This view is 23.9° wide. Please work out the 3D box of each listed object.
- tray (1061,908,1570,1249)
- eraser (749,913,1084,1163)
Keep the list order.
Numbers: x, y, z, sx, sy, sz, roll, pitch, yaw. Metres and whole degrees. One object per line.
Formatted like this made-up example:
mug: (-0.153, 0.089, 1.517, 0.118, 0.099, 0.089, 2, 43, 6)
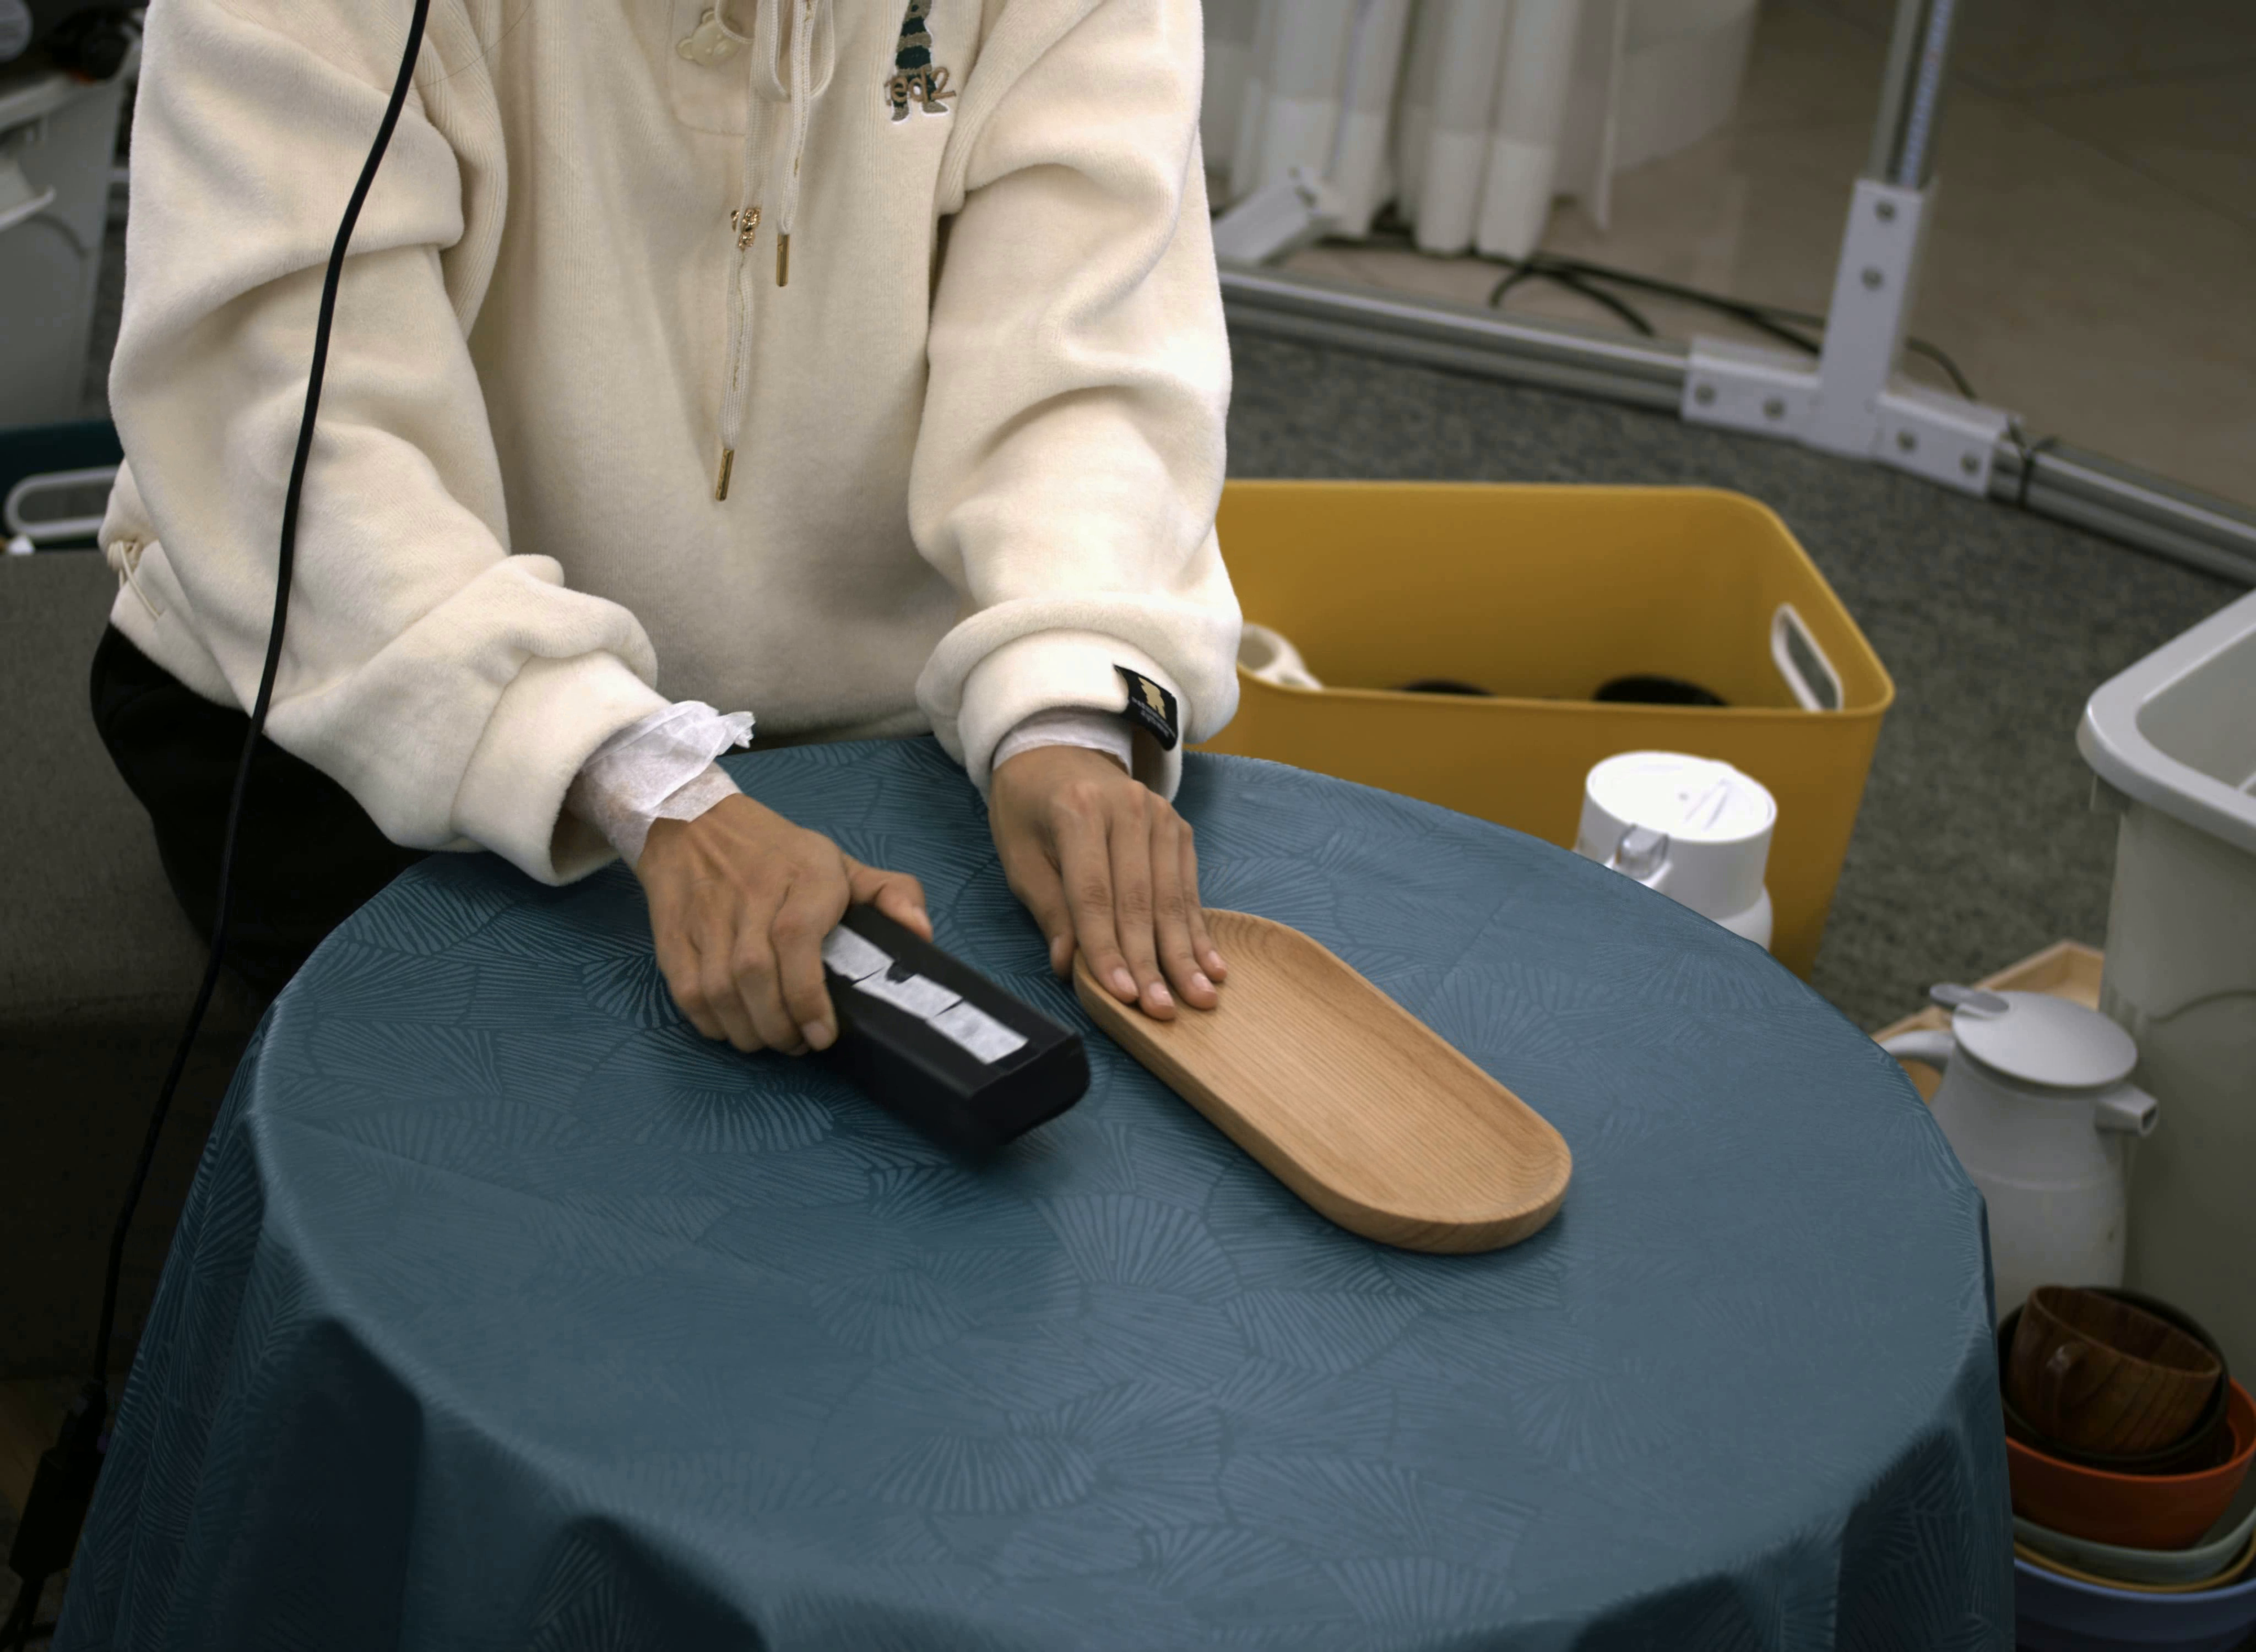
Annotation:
tray: (0.063, 0.087, 1.871, 0.101, 0.020, 0.233, -12, 30, -33)
eraser: (-0.073, 0.072, 1.837, 0.053, 0.030, 0.126, -23, 37, -33)
